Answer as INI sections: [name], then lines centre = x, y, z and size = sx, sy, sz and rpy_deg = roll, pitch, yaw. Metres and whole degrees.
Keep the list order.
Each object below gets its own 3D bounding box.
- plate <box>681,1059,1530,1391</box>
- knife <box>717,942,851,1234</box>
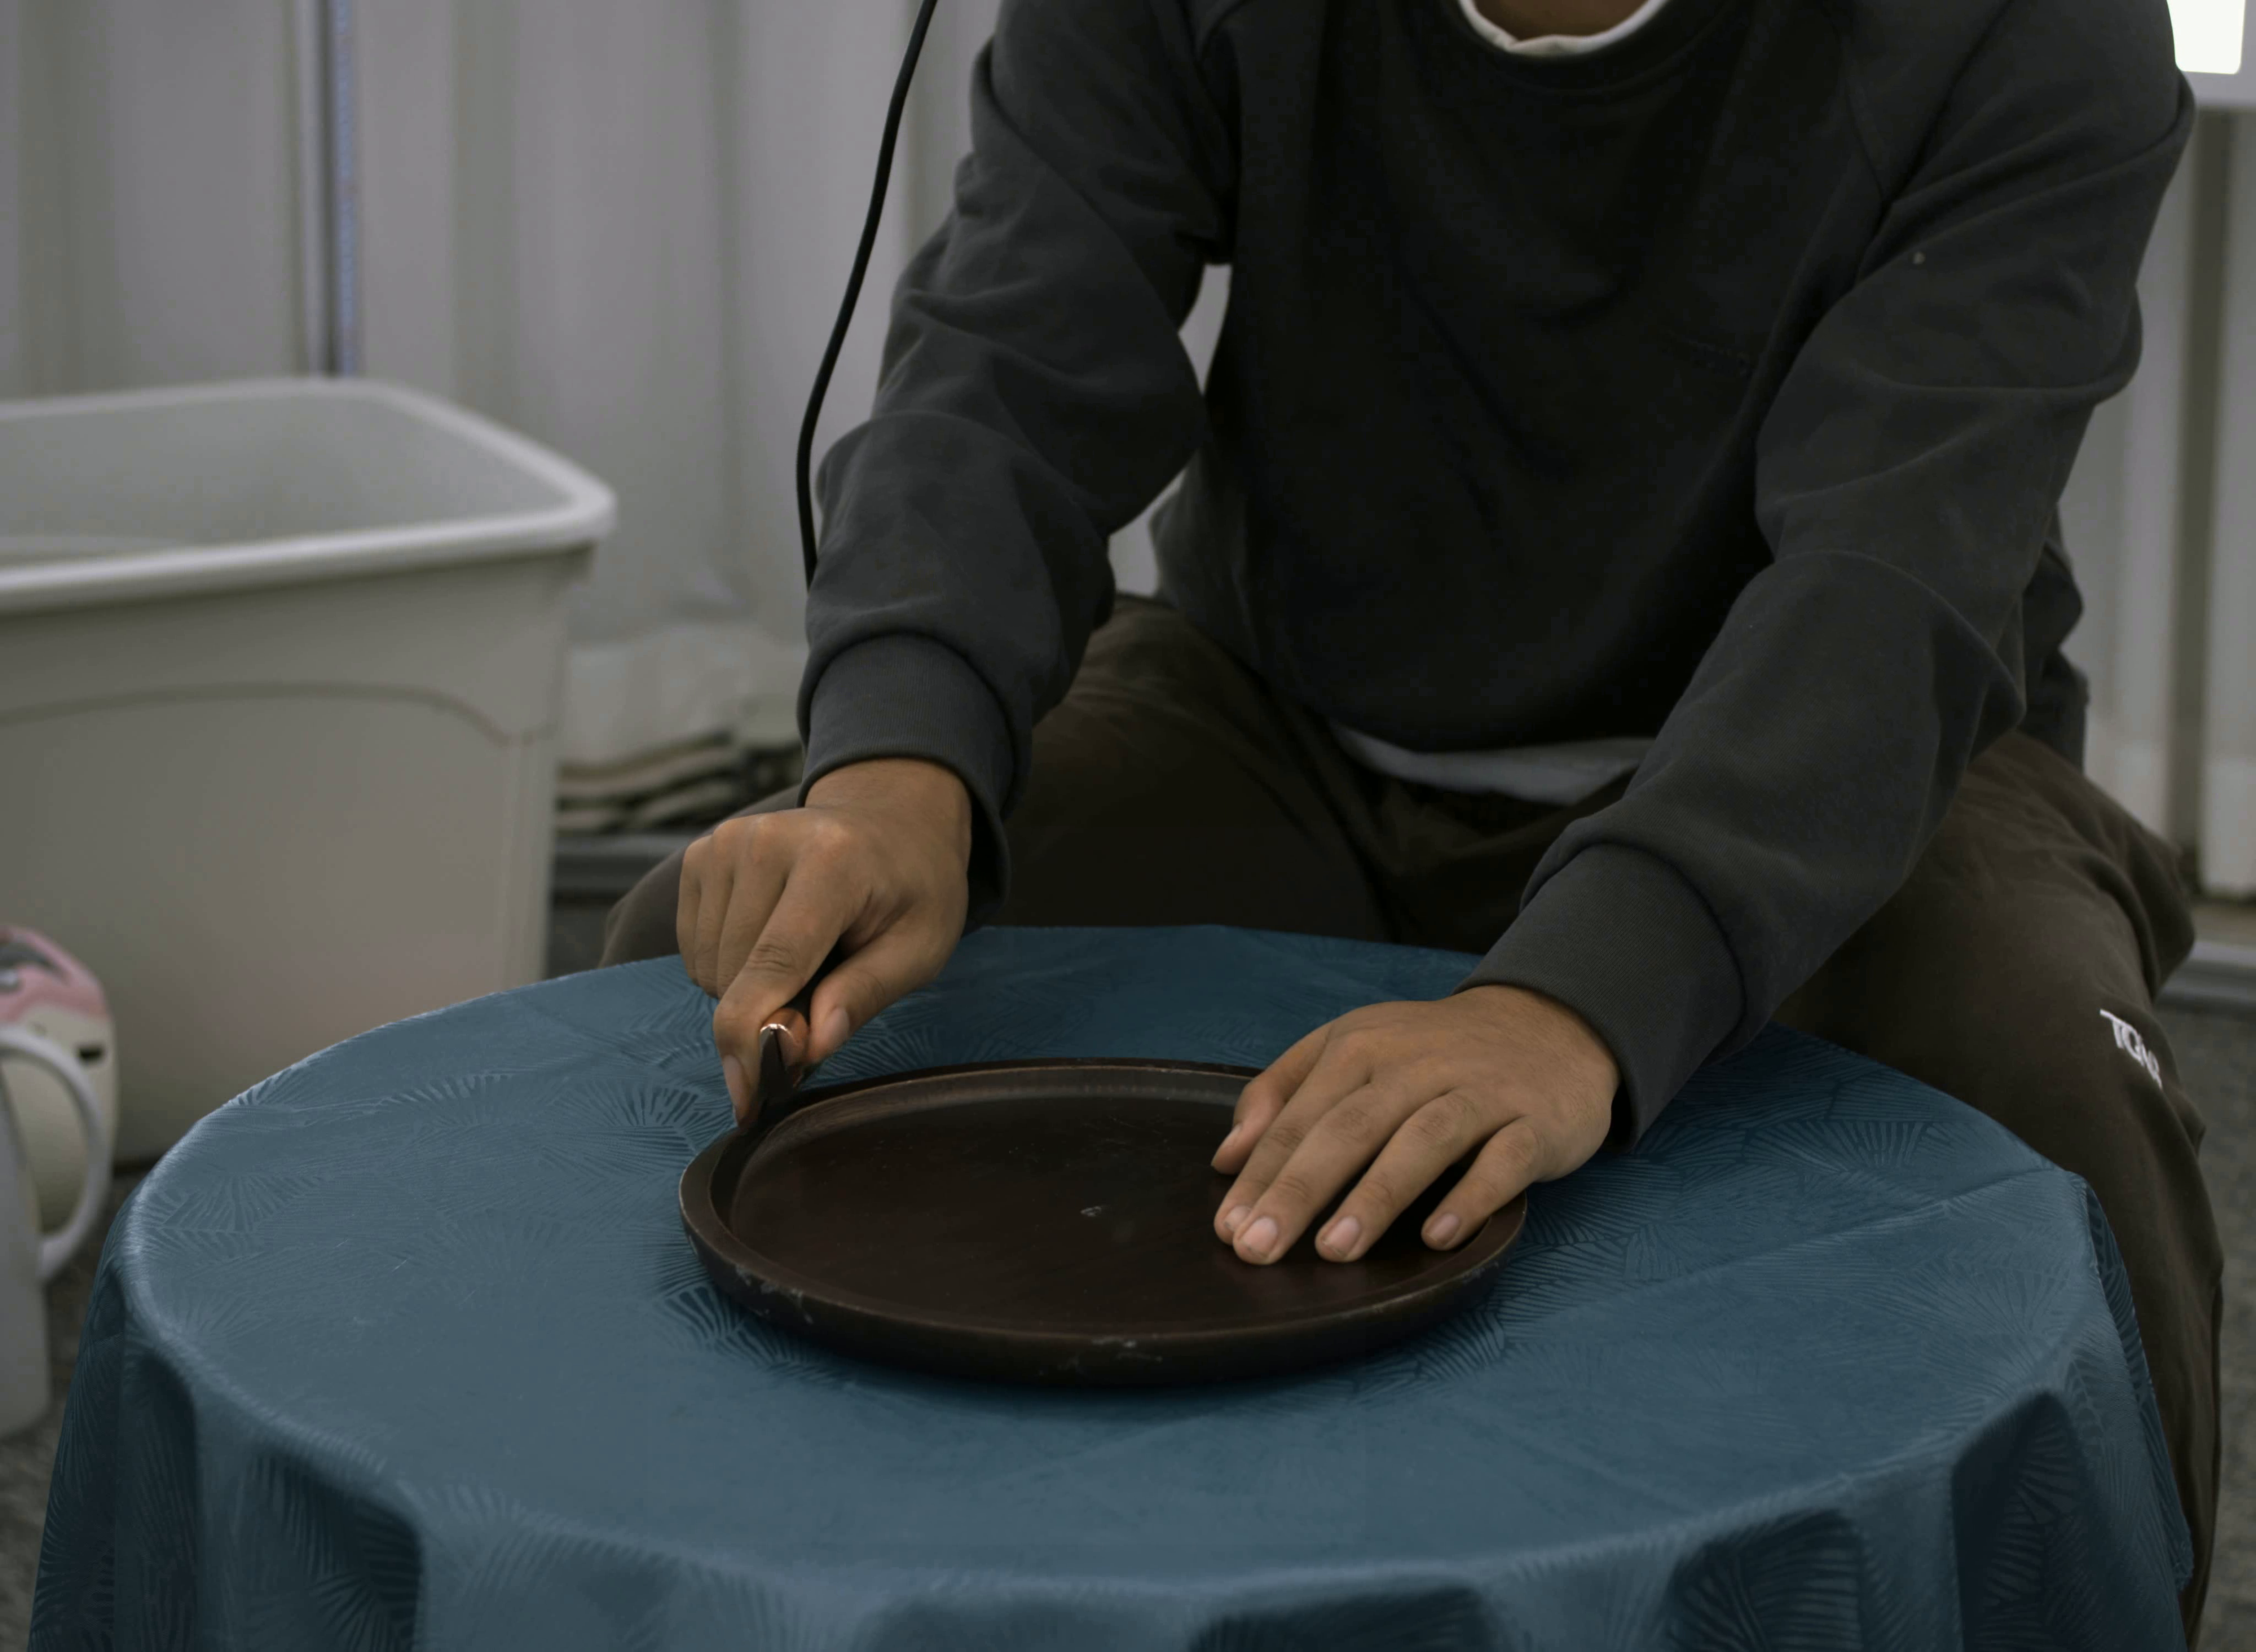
[plate]
centre = -0.007, 0.116, 1.570
size = 0.254, 0.029, 0.253
rpy_deg = 0, 14, 1
[knife]
centre = -0.108, 0.078, 1.628
size = 0.017, 0.026, 0.224
rpy_deg = -7, 16, 8
